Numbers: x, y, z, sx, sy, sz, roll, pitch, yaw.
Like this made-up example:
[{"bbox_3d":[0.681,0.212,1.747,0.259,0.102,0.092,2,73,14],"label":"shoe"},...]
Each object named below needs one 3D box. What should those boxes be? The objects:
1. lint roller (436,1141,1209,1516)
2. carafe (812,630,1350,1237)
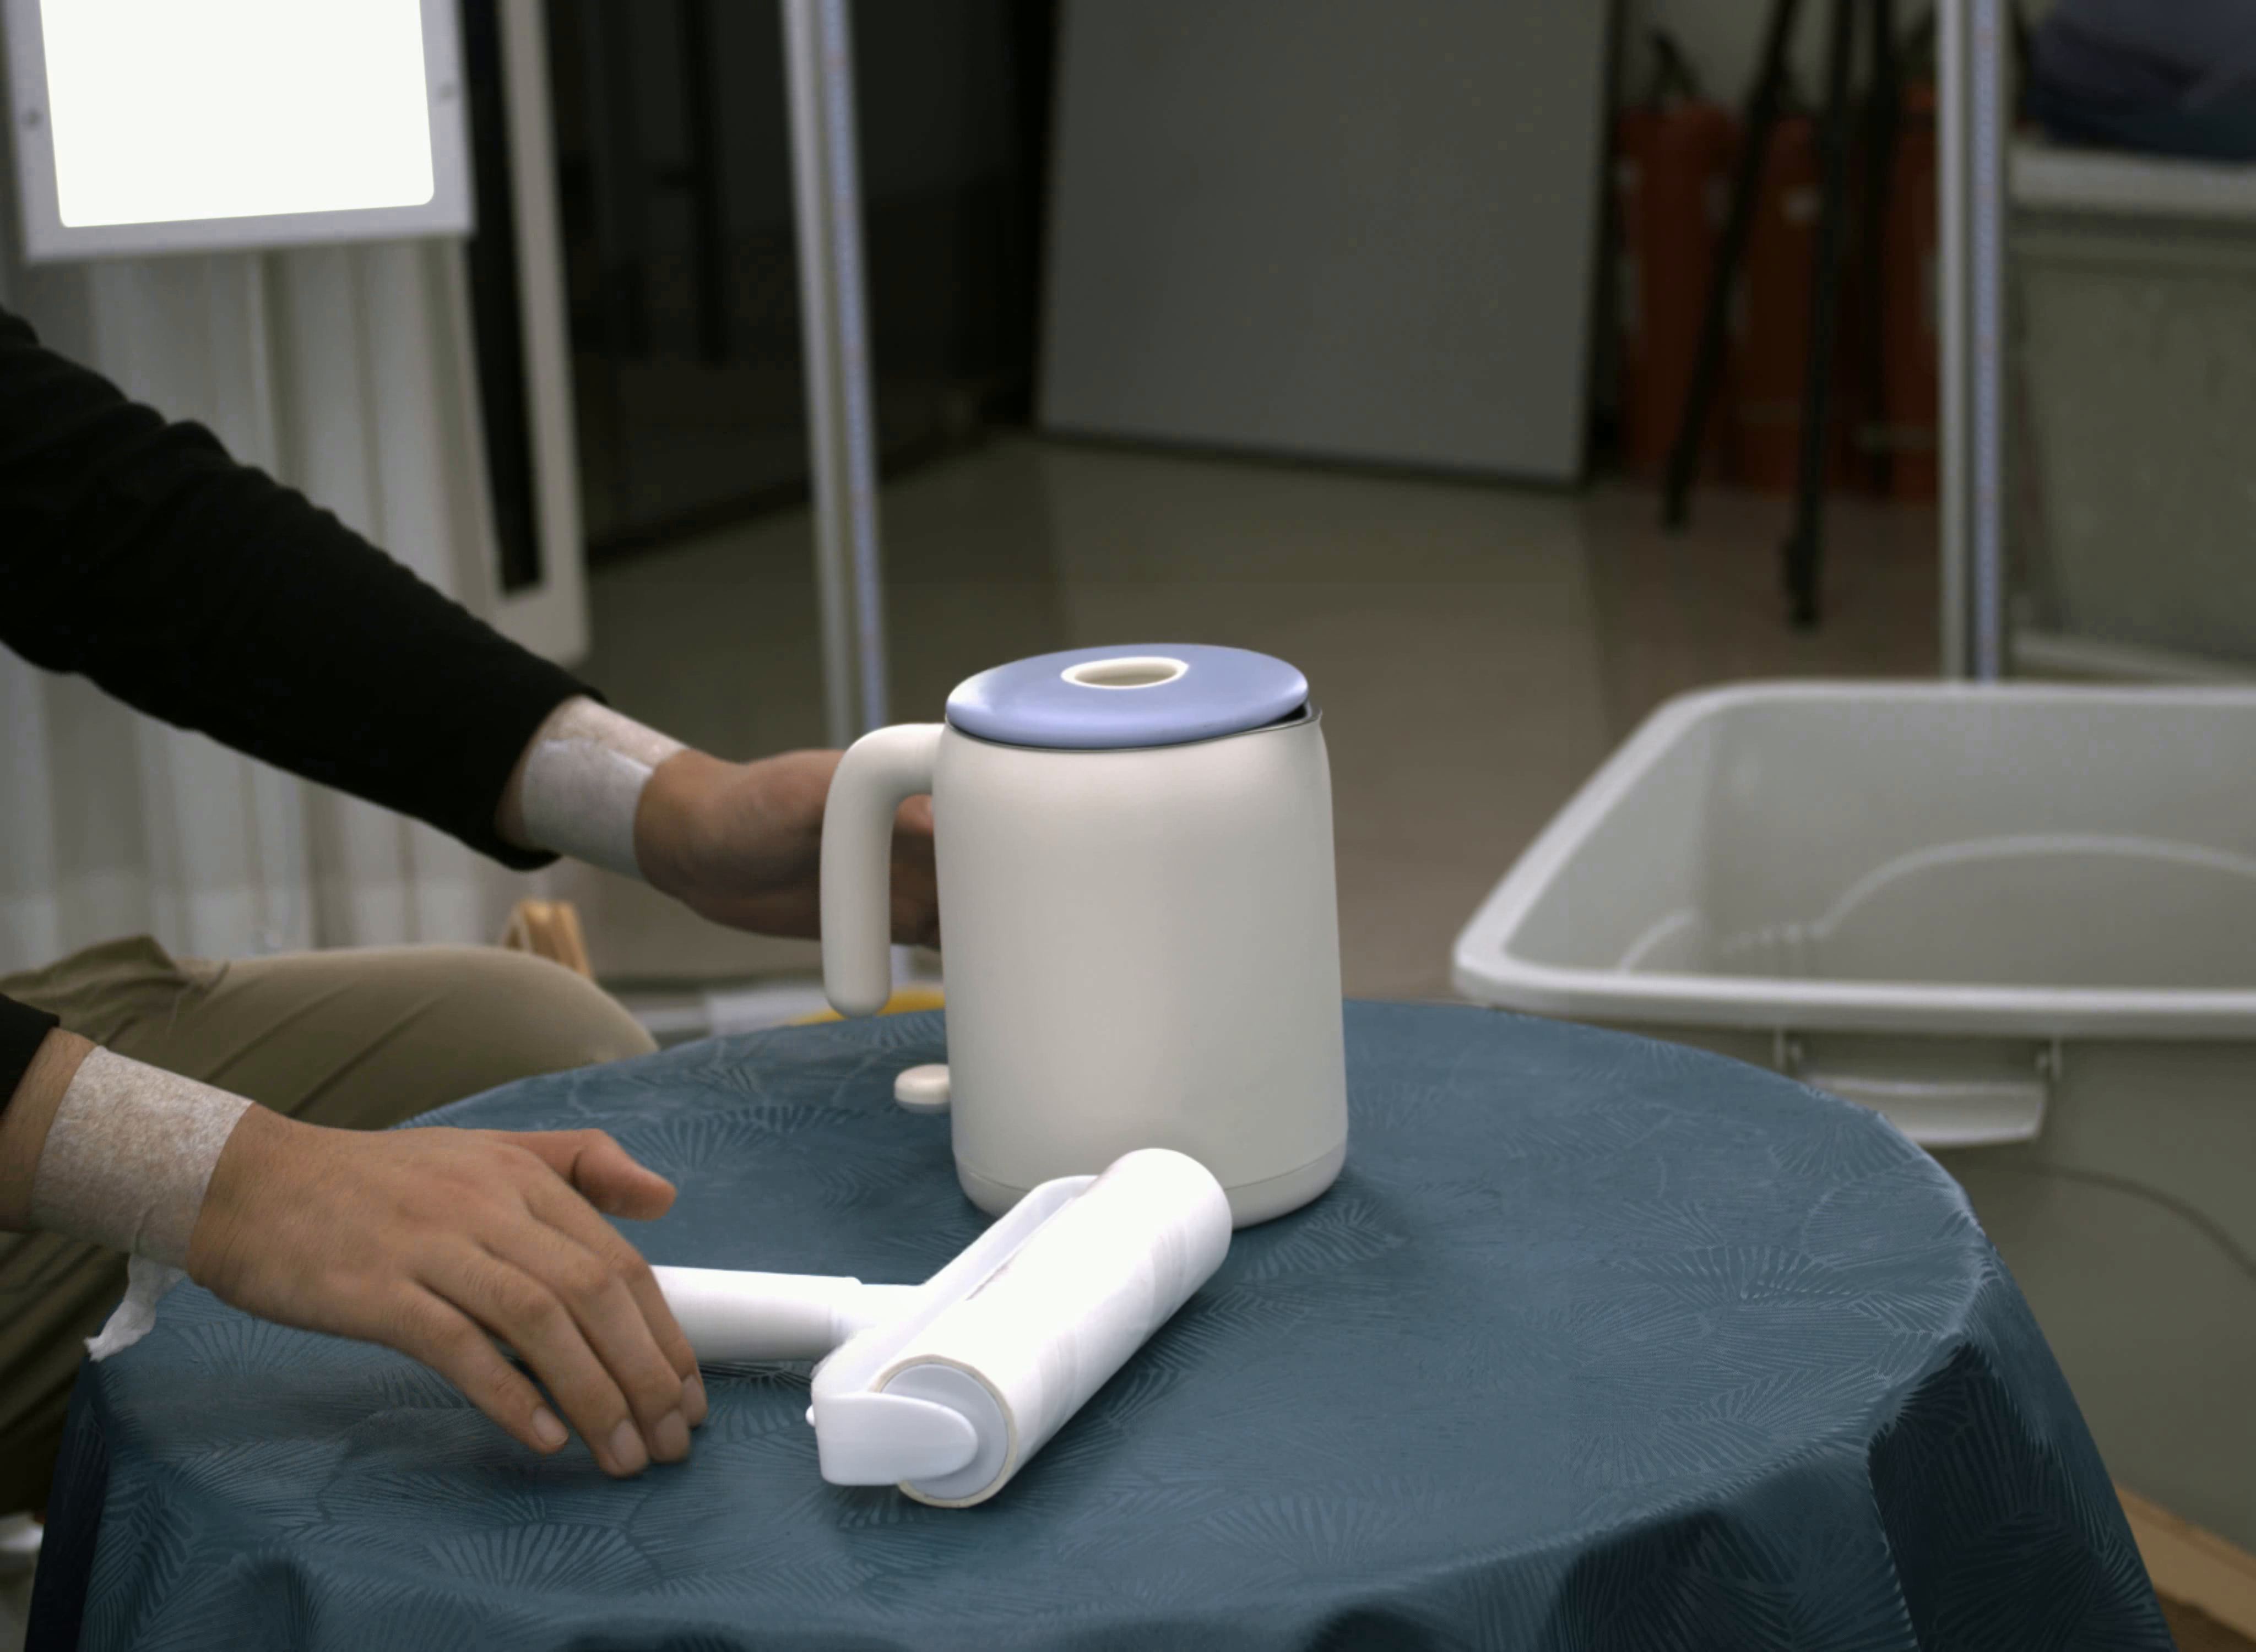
[{"bbox_3d":[-0.106,0.145,1.615,0.225,0.049,0.201,0,16,21],"label":"lint roller"},{"bbox_3d":[-0.018,0.035,1.765,0.191,0.184,0.130,1,13,27],"label":"carafe"}]
